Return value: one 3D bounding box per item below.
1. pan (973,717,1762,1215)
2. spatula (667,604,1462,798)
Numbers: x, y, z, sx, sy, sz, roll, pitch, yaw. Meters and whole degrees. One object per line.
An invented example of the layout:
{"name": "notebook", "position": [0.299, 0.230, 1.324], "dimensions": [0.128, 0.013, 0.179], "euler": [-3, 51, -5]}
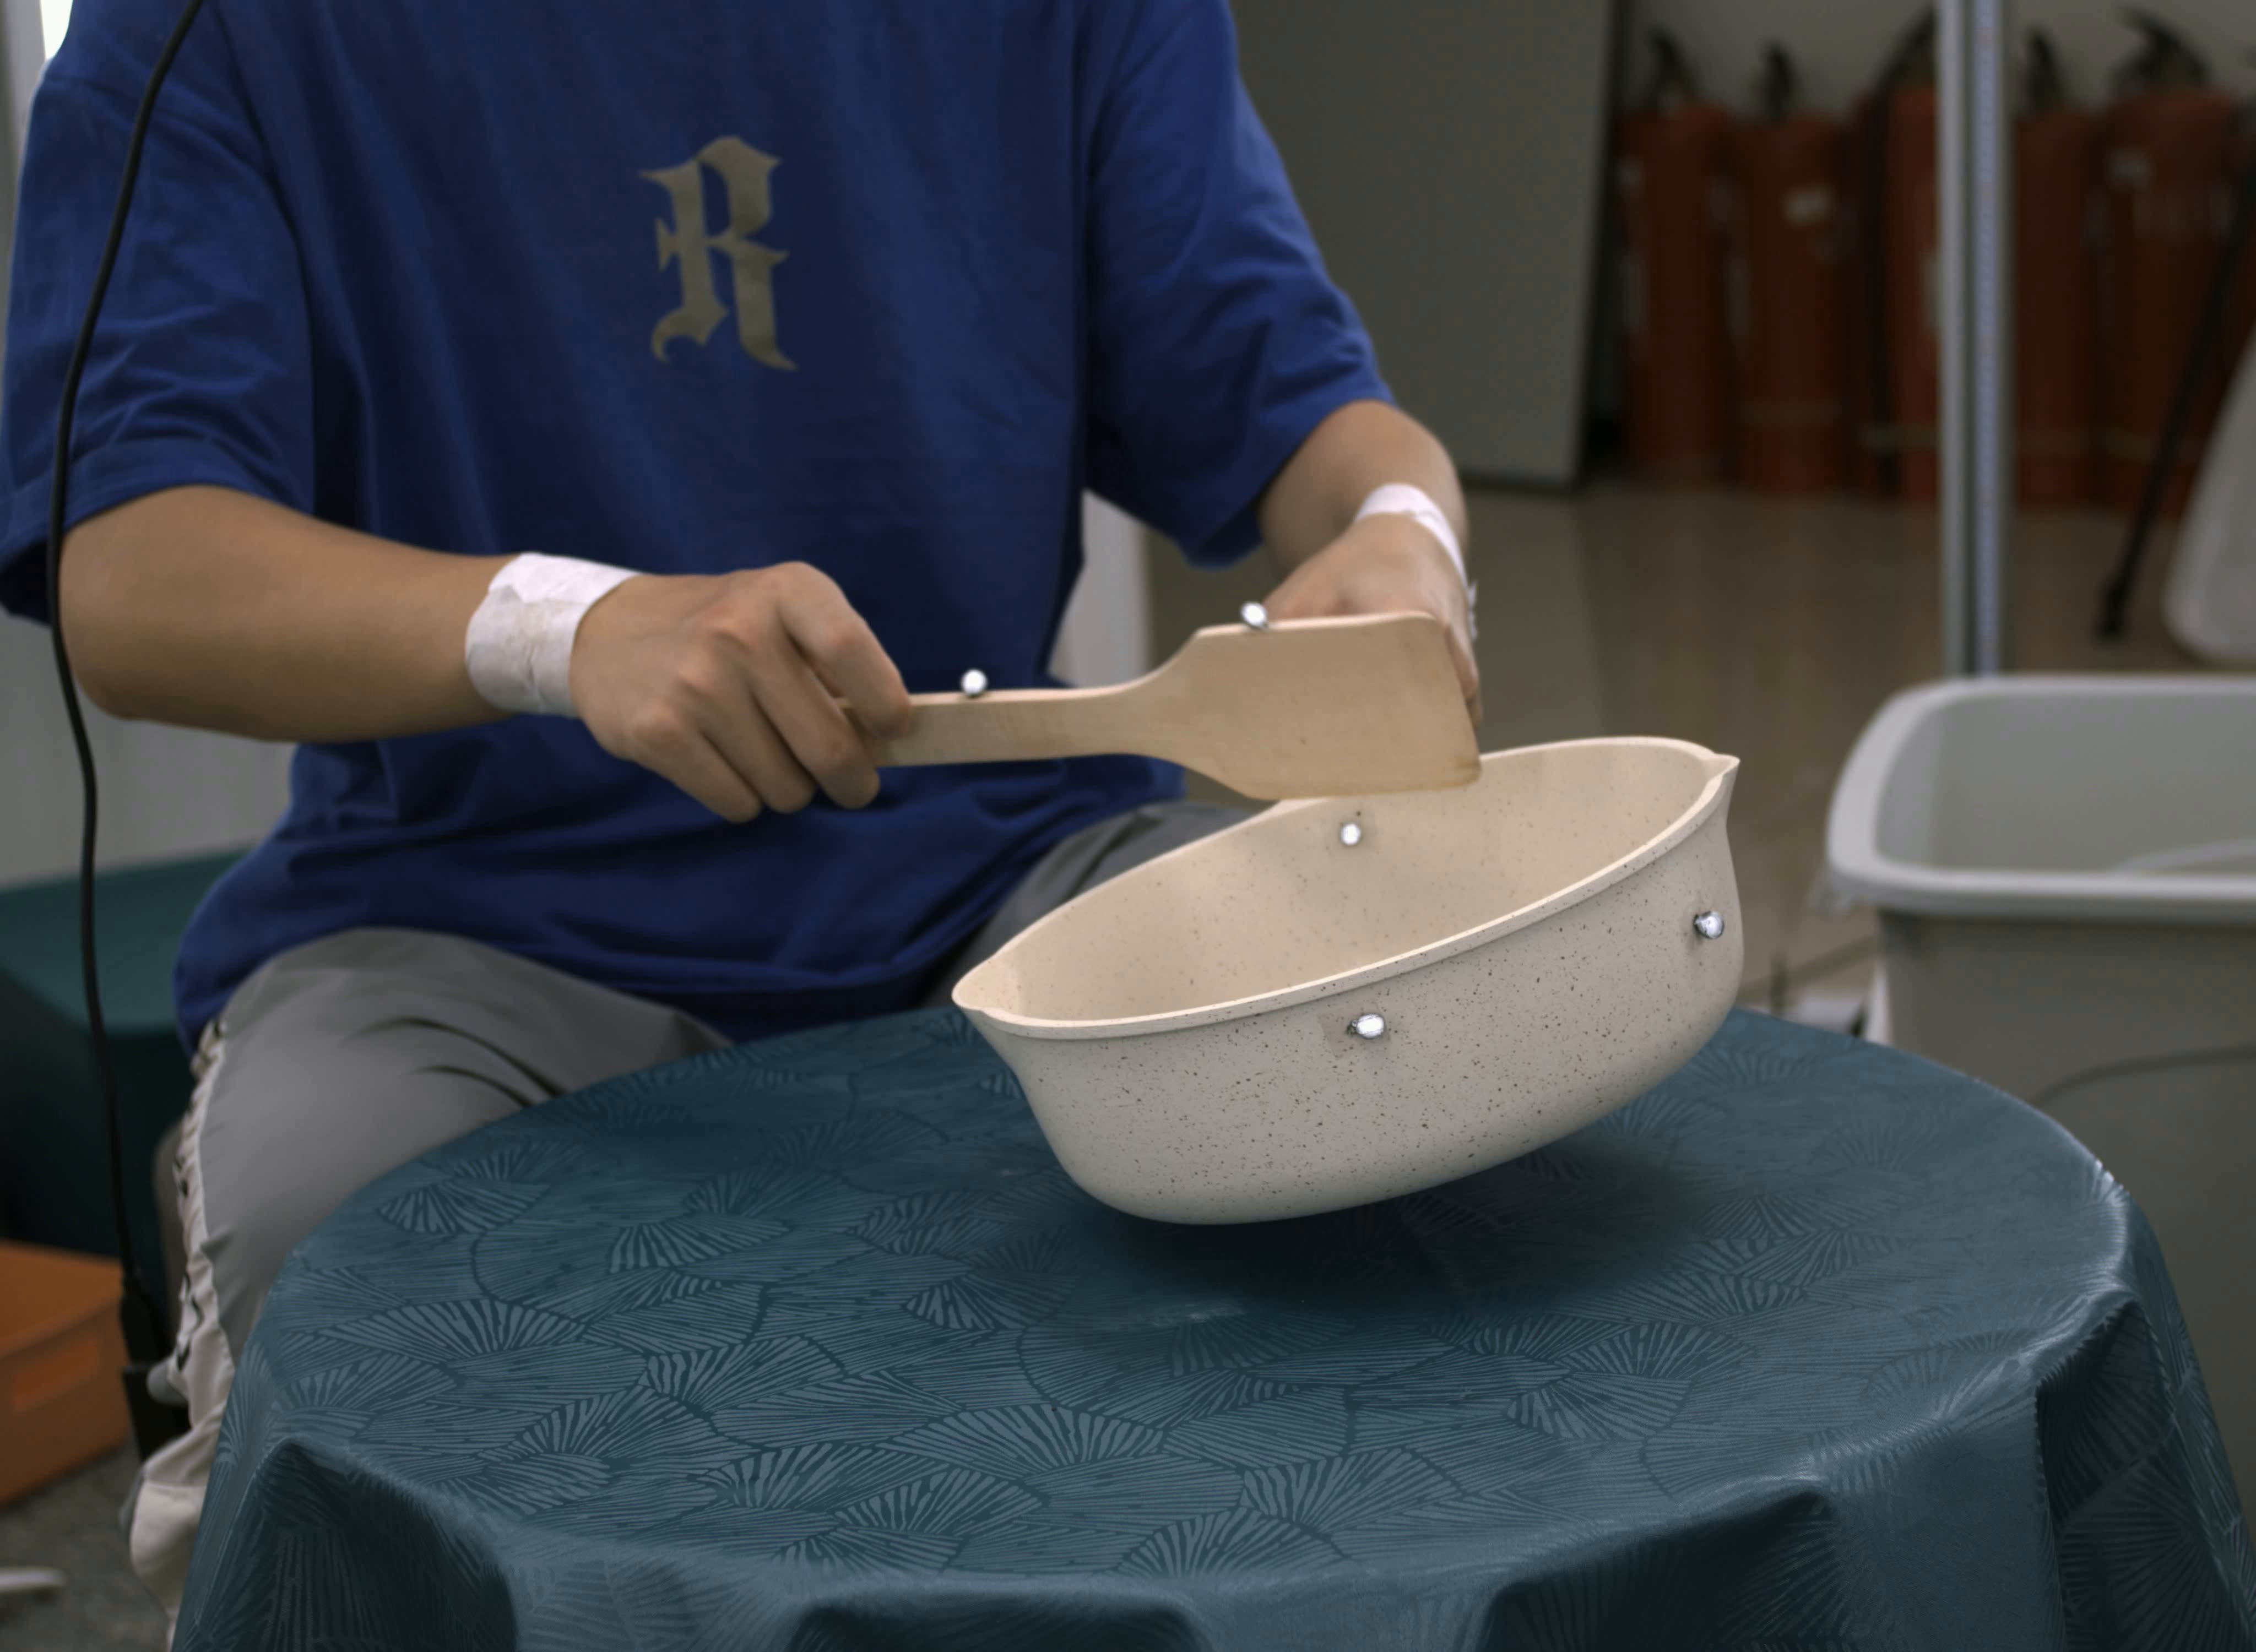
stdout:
{"name": "pan", "position": [0.085, 0.023, 1.805], "dimensions": [0.261, 0.103, 0.435], "euler": [-19, 11, 5]}
{"name": "spatula", "position": [-0.029, -0.036, 1.817], "dimensions": [0.293, 0.072, 0.010], "euler": [-3, 35, 27]}
